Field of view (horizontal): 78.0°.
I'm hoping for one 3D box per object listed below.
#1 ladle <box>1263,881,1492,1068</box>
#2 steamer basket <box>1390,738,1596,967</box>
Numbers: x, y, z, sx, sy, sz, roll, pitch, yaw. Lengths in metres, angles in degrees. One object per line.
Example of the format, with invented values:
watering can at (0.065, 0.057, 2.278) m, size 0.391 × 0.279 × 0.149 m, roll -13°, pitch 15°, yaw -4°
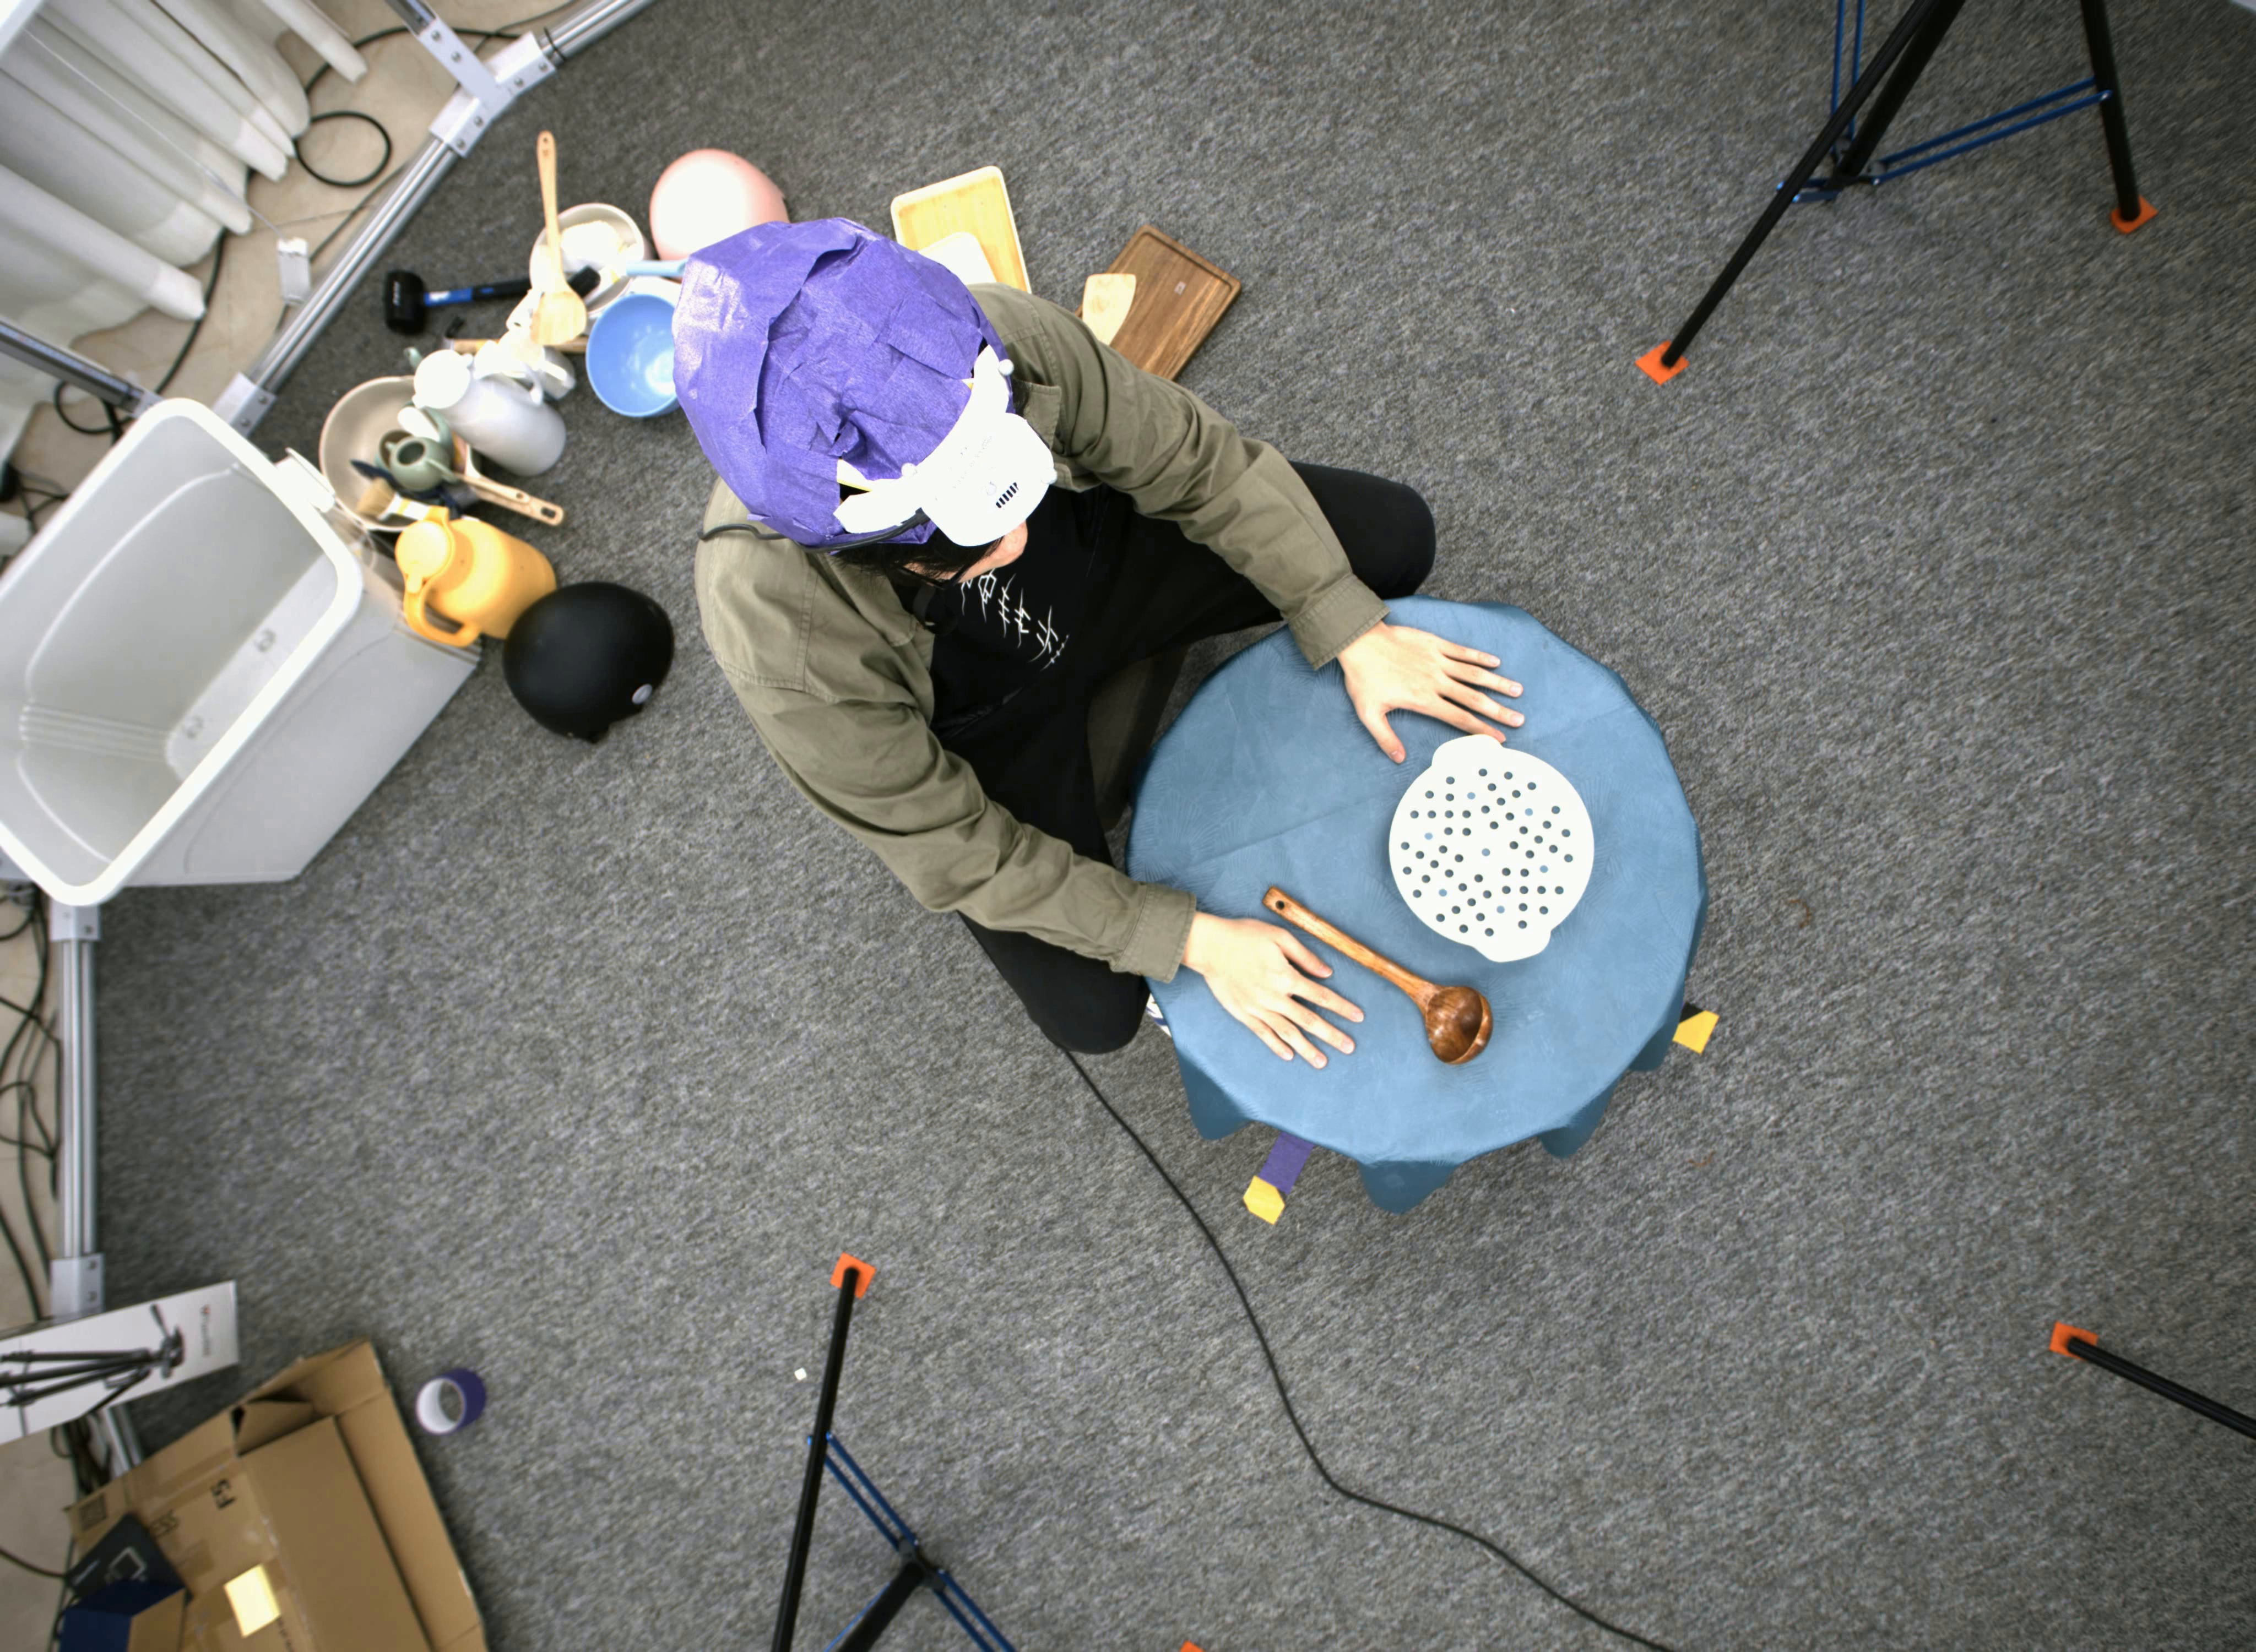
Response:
ladle at (0.247, 0.146, 1.412) m, size 0.273 × 0.076 × 0.083 m, roll 33°, pitch 107°, yaw 10°
steamer basket at (0.368, 0.027, 1.399) m, size 0.203 × 0.069 × 0.229 m, roll -13°, pitch 84°, yaw 9°
